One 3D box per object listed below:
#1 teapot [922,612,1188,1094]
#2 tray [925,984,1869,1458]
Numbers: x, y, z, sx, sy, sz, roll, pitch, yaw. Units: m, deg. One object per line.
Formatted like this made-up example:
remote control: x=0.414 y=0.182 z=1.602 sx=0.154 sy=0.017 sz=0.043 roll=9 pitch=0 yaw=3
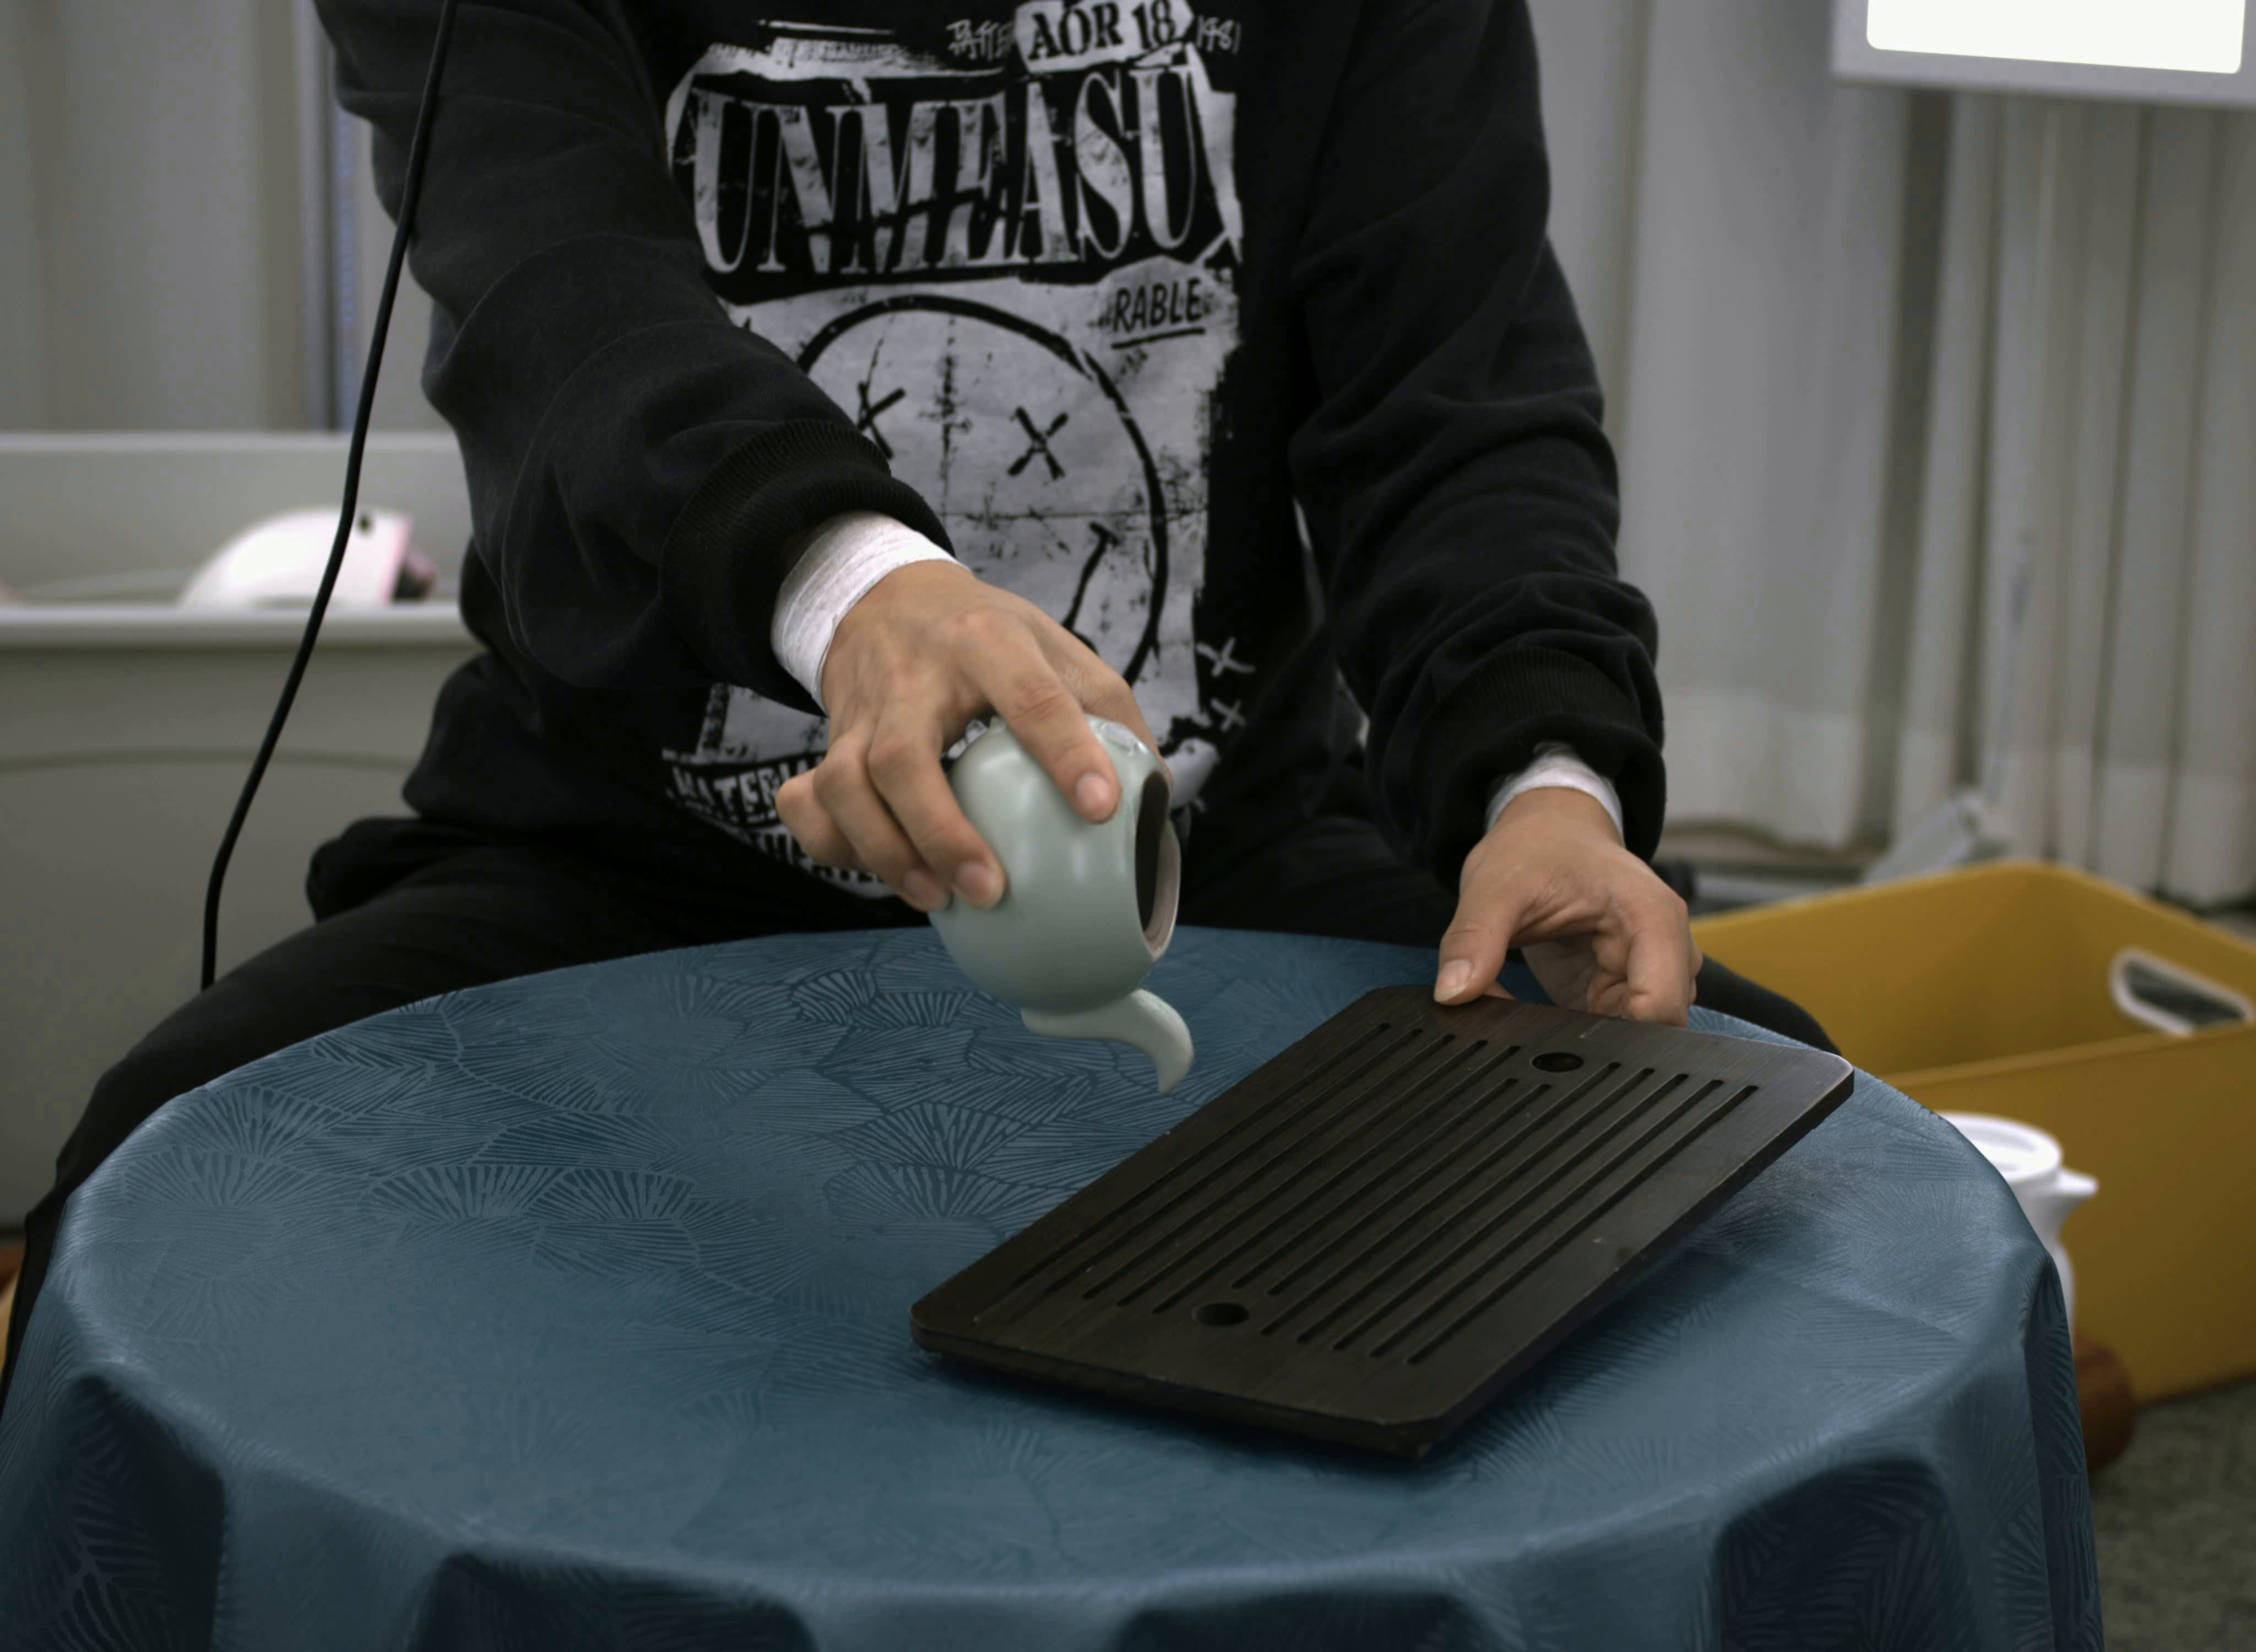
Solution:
teapot: x=-0.020 y=0.008 z=1.529 sx=0.074 sy=0.145 sz=0.088 roll=3 pitch=15 yaw=12
tray: x=0.086 y=0.112 z=1.557 sx=0.168 sy=0.019 sz=0.306 roll=9 pitch=21 yaw=29
